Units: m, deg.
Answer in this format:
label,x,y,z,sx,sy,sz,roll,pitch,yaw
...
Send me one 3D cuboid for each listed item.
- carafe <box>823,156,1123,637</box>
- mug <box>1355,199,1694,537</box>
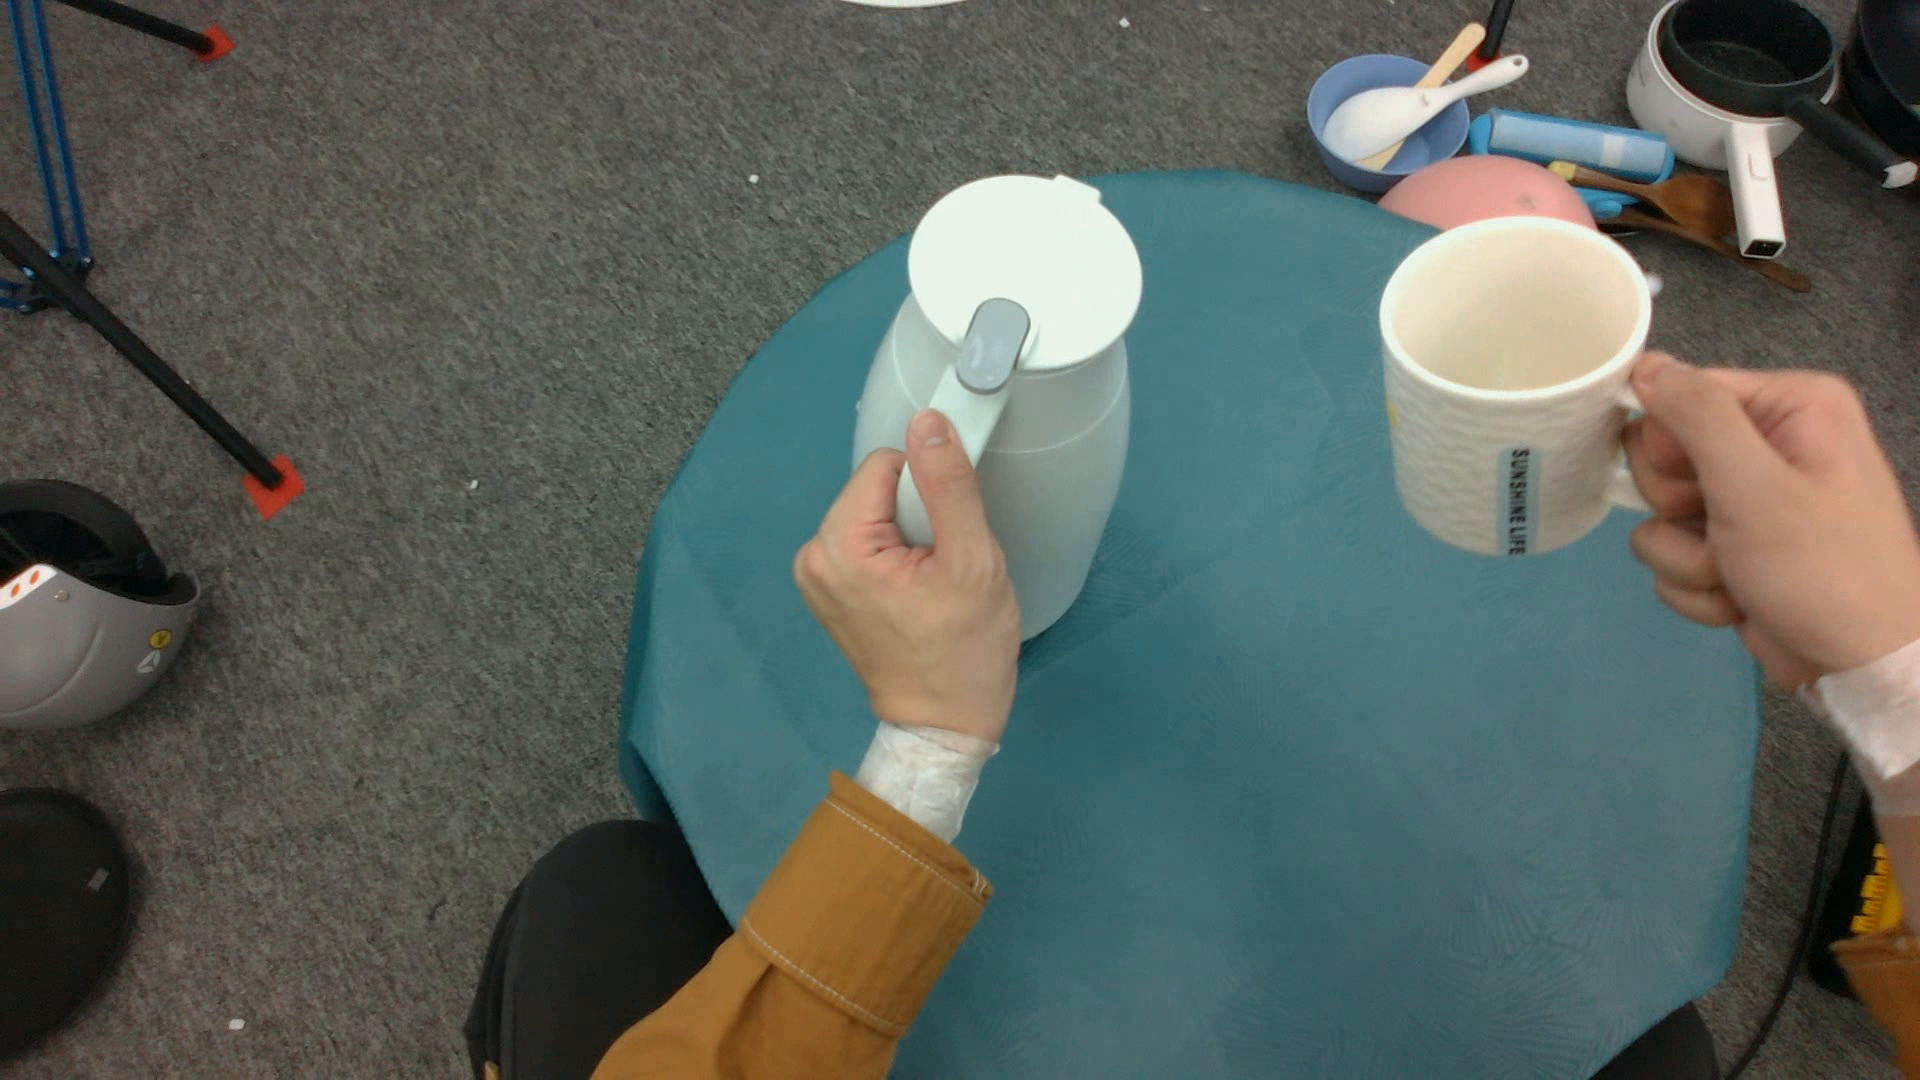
label,x,y,z,sx,sy,sz,roll,pitch,yaw
carafe,0.000,-0.046,0.626,0.132,0.247,0.168,23,64,4
mug,0.207,-0.054,0.508,0.118,0.101,0.085,31,71,33
